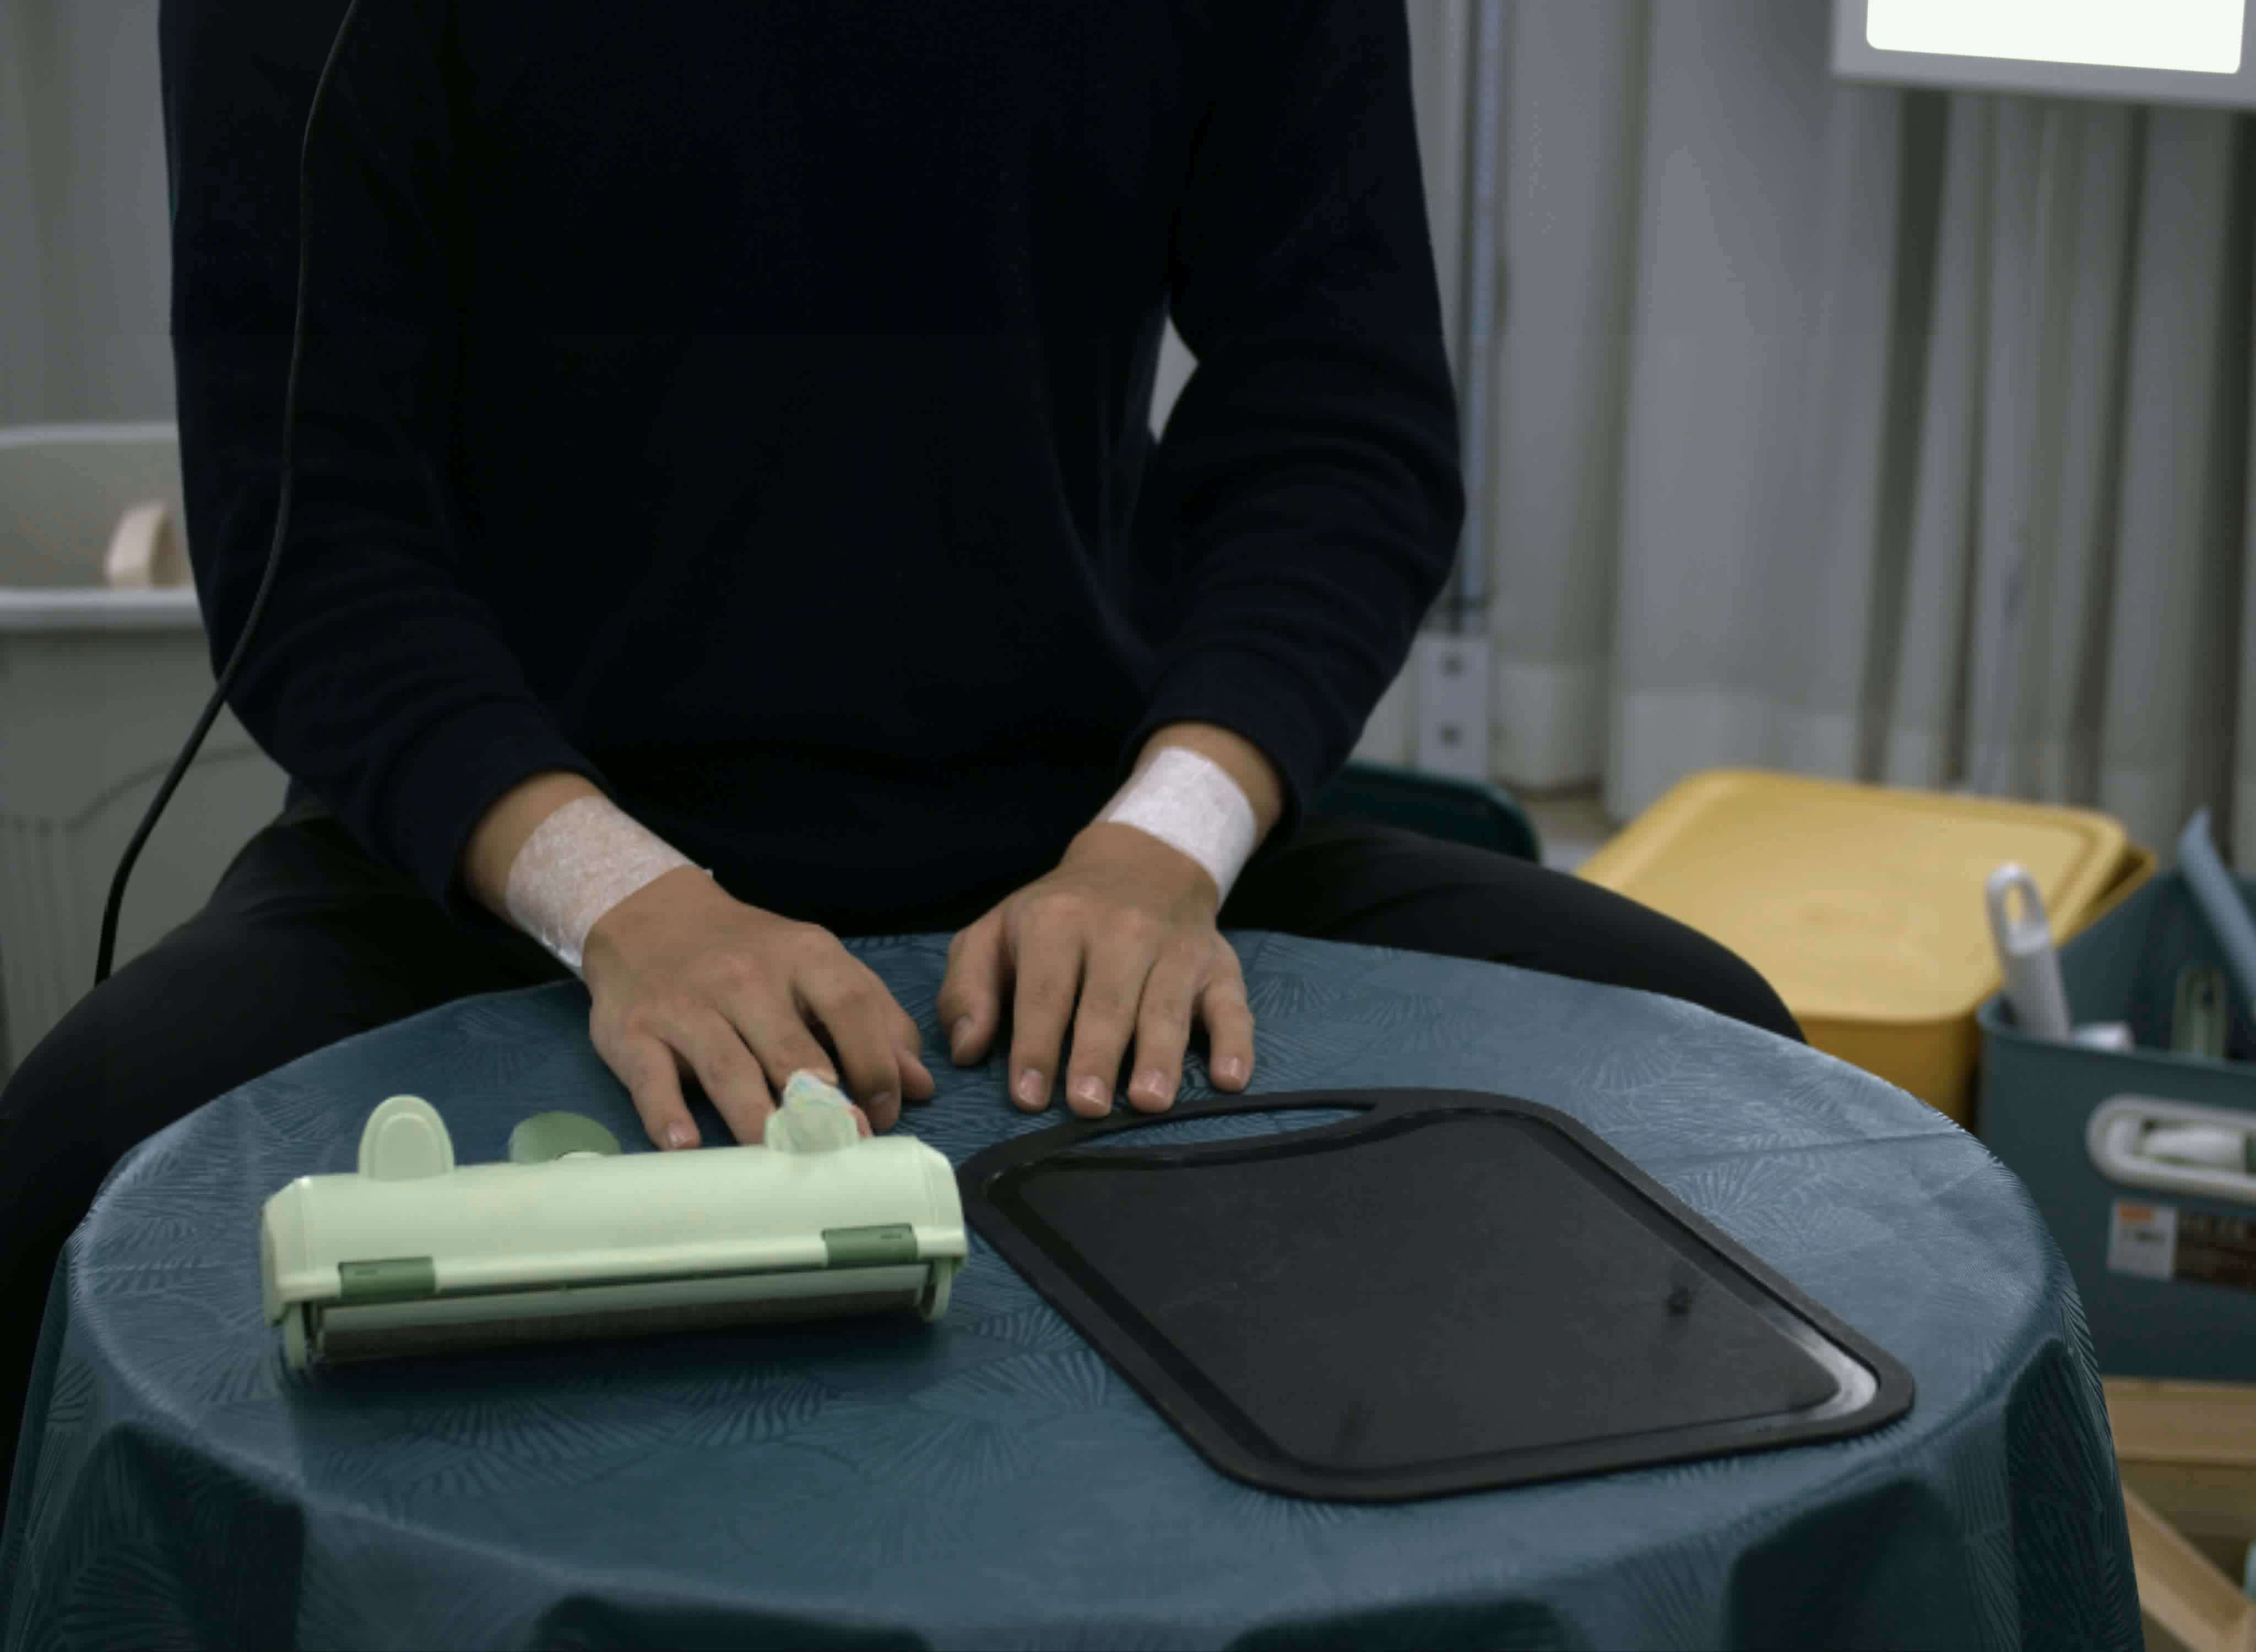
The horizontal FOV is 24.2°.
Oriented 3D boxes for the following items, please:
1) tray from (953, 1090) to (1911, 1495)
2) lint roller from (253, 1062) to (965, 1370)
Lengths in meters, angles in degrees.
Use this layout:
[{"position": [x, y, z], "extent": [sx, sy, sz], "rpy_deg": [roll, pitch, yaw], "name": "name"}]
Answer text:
[{"position": [0.078, 0.129, 1.553], "extent": [0.211, 0.010, 0.322], "rpy_deg": [-5, 17, -19], "name": "tray"}, {"position": [-0.160, 0.091, 1.531], "extent": [0.199, 0.083, 0.181], "rpy_deg": [-3, 23, -15], "name": "lint roller"}]
